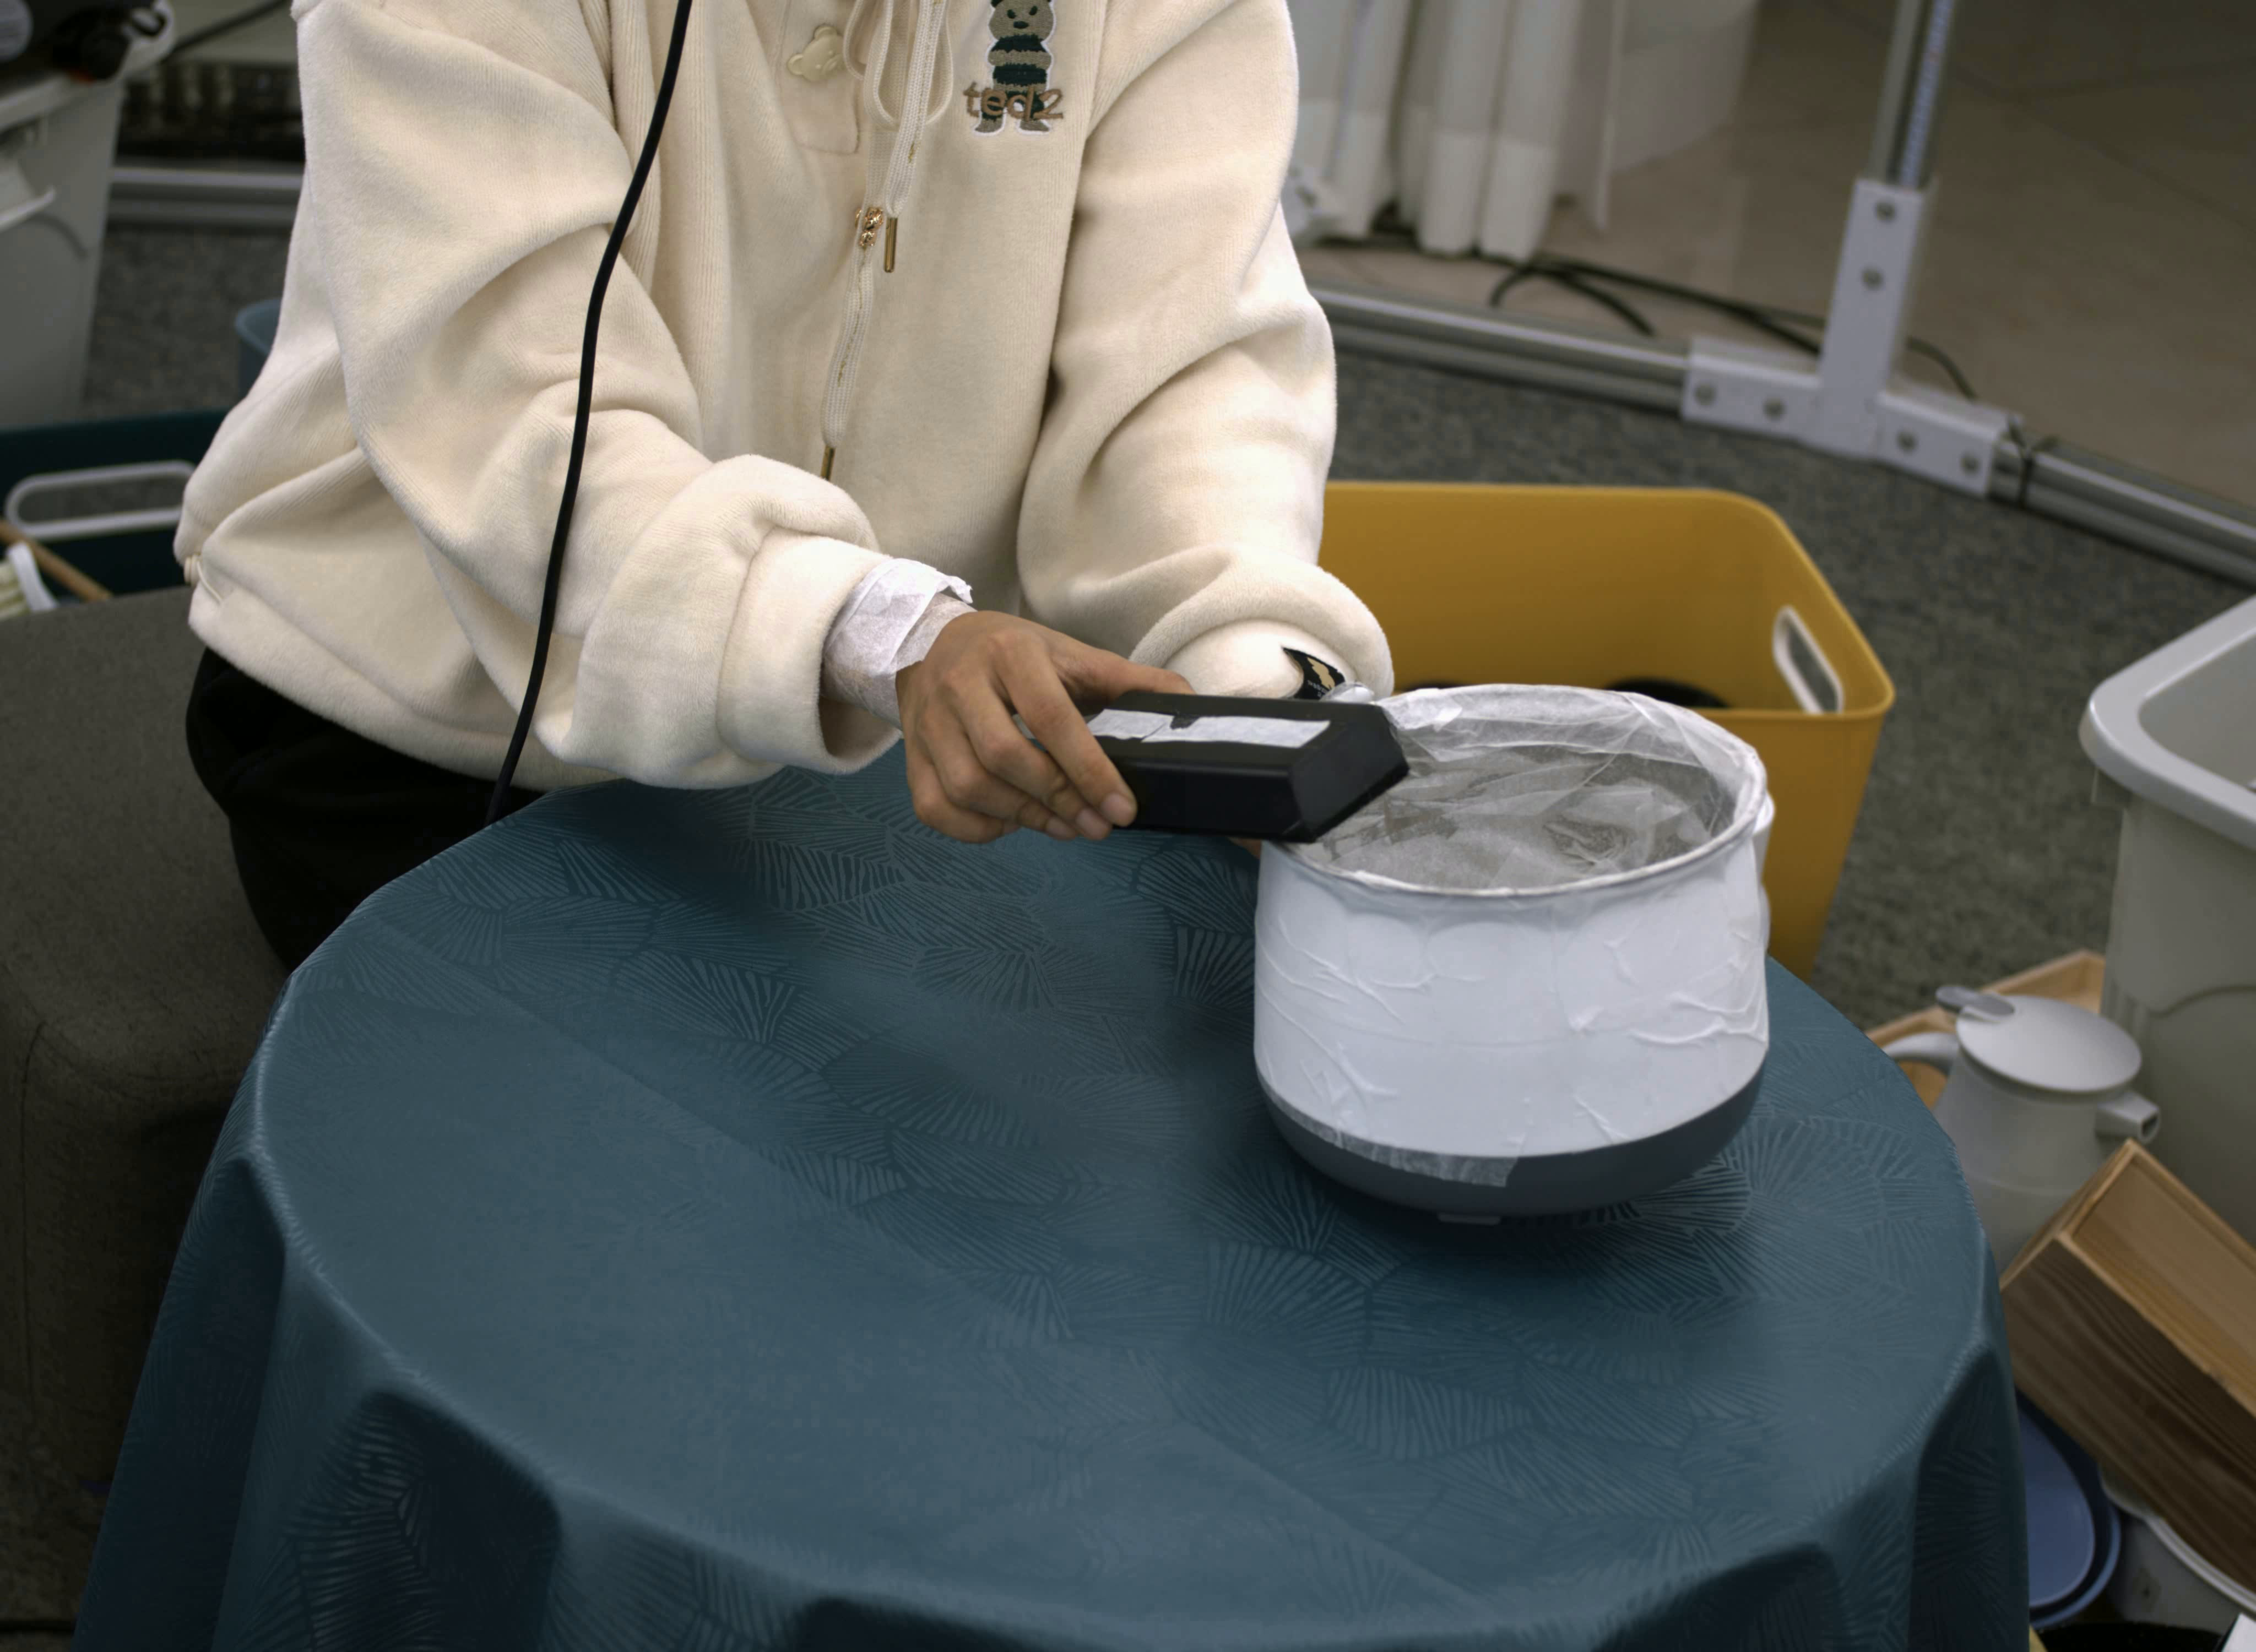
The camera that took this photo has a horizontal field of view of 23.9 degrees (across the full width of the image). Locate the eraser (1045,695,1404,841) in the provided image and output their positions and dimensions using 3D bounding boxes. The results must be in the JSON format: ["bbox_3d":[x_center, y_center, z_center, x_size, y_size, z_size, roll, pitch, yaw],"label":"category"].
[{"bbox_3d":[0.032,-0.020,1.788,0.053,0.030,0.126,-35,25,-34],"label":"eraser"}]

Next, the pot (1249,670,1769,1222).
[{"bbox_3d":[0.114,0.033,1.835,0.178,0.136,0.235,-15,27,-27],"label":"pot"}]
